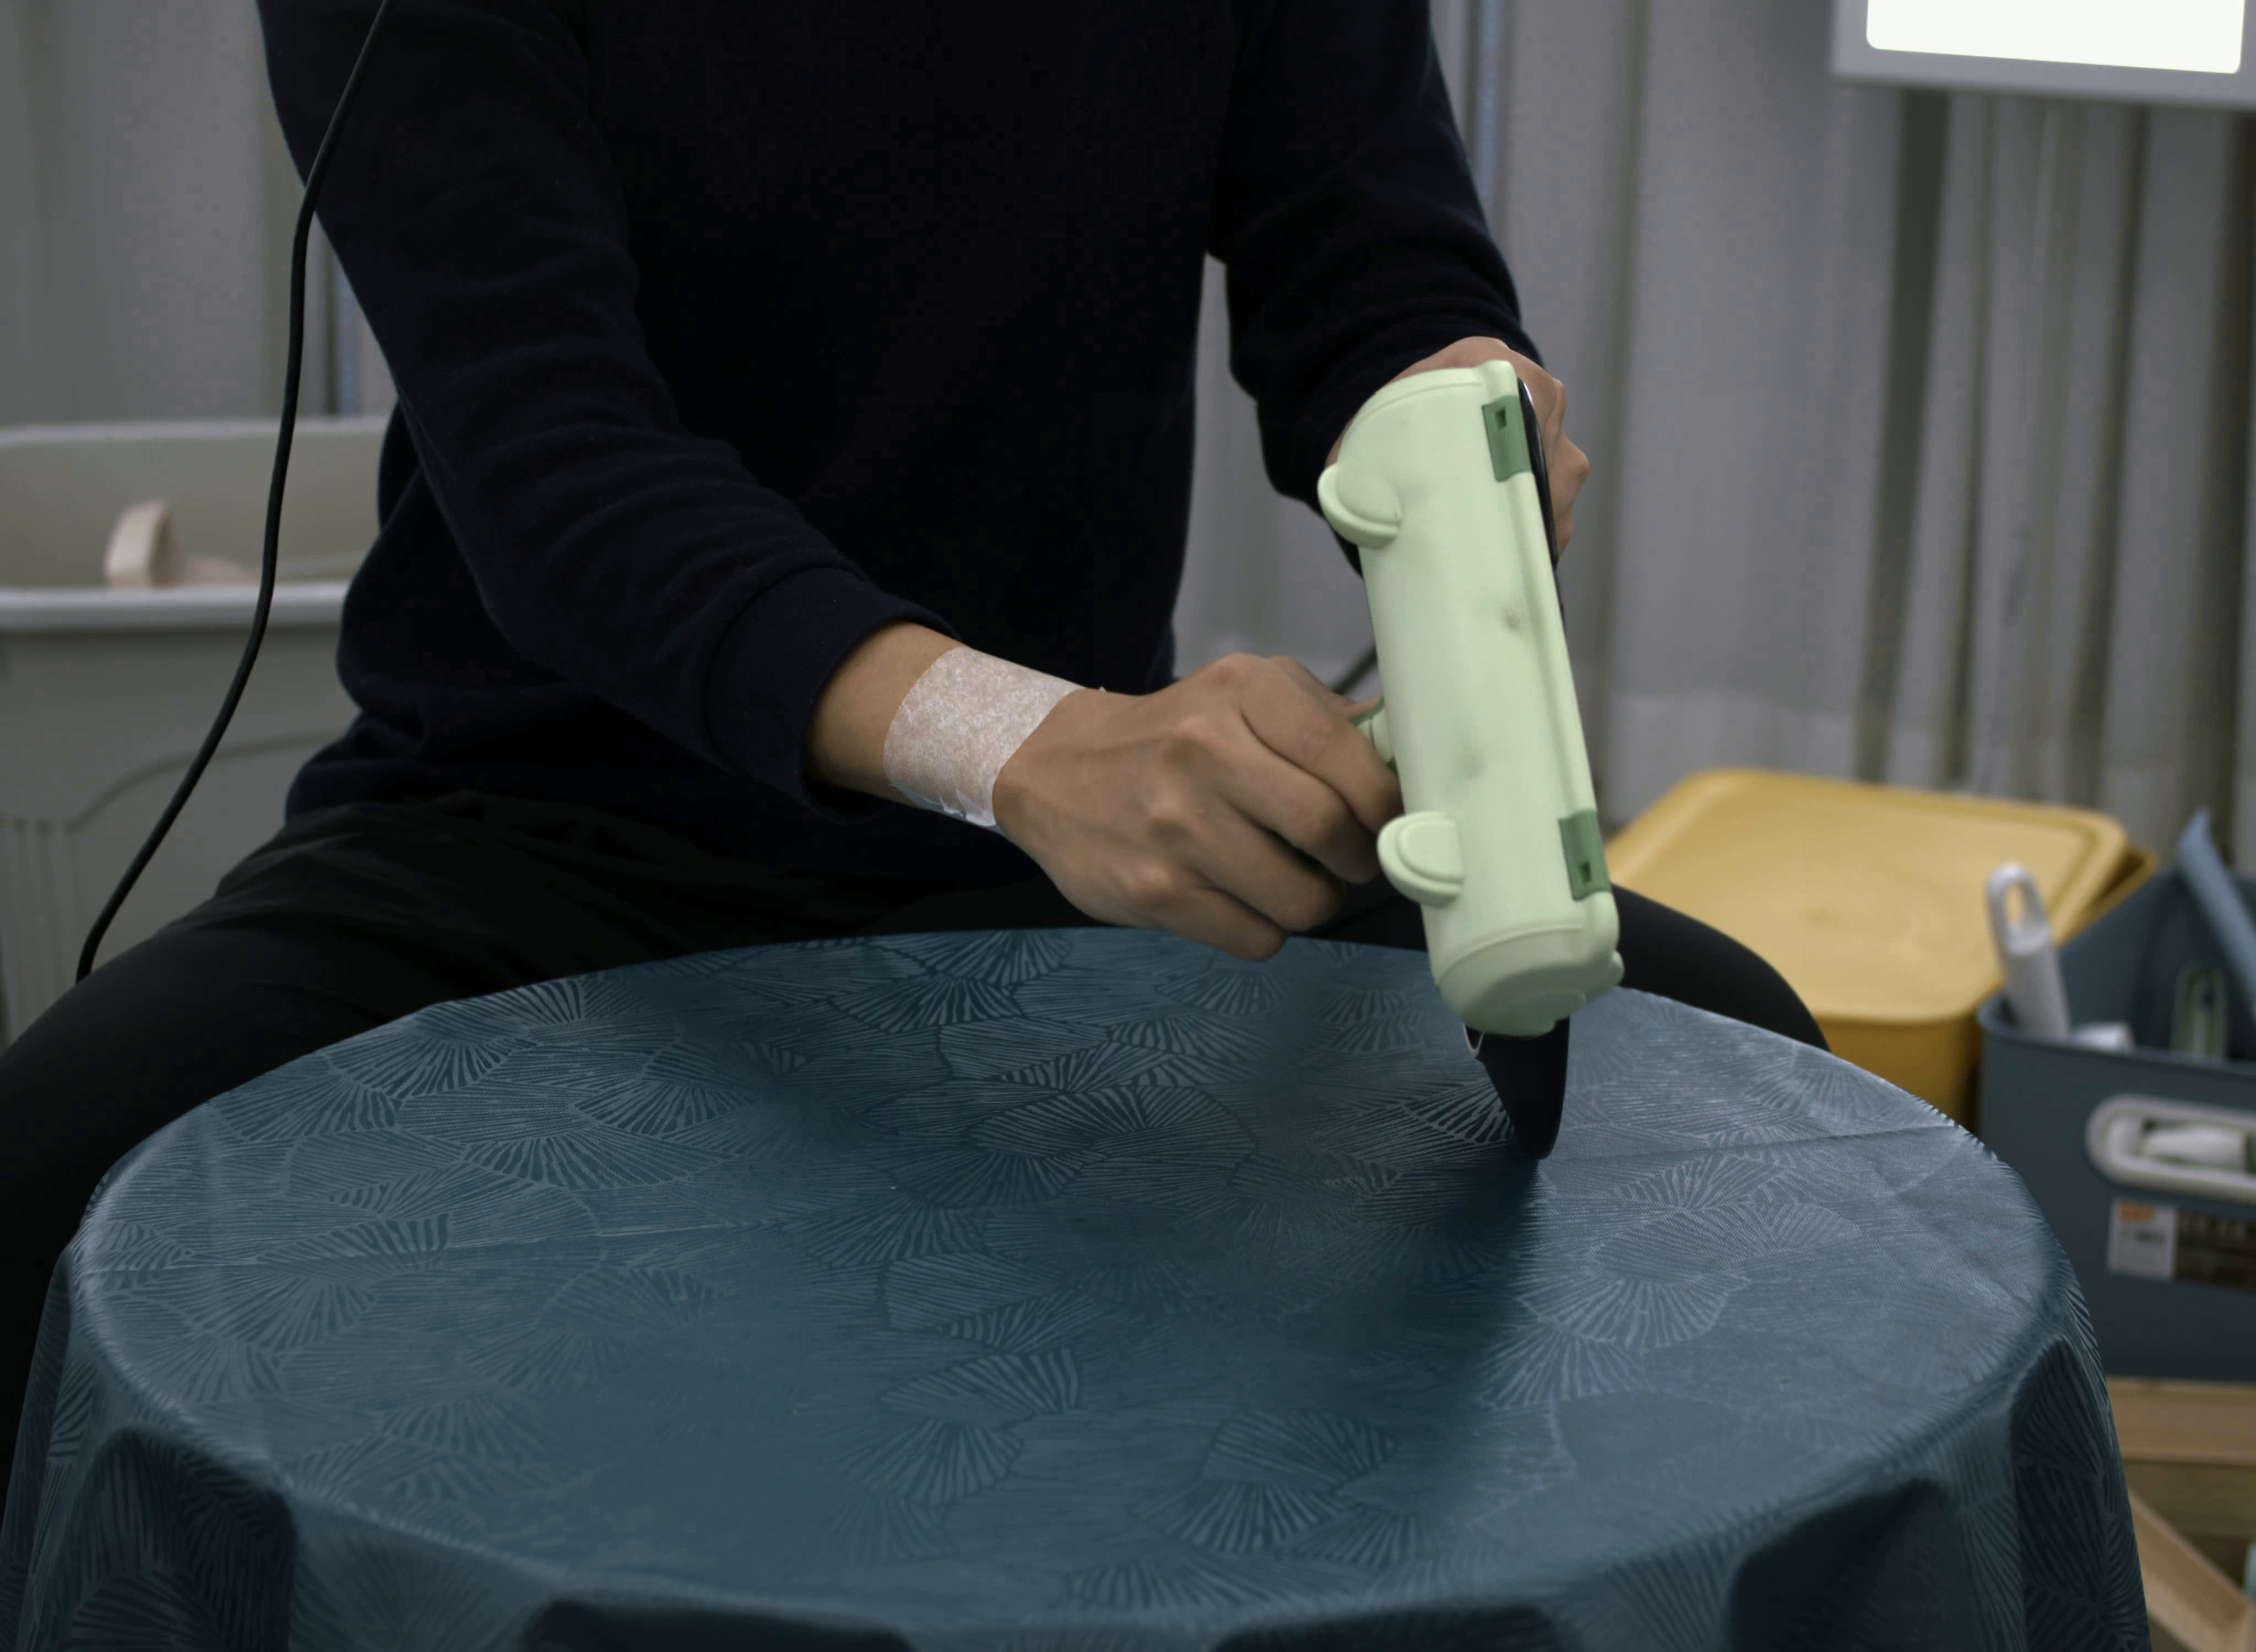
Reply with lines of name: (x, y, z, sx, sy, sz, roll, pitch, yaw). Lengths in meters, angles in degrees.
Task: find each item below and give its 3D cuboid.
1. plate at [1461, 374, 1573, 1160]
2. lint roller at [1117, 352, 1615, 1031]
plate: (0.115, -0.018, 1.637, 0.023, 0.246, 0.243, -2, 16, -1)
lint roller: (0.052, -0.021, 1.531, 0.182, 0.197, 0.083, -25, -31, 29)
